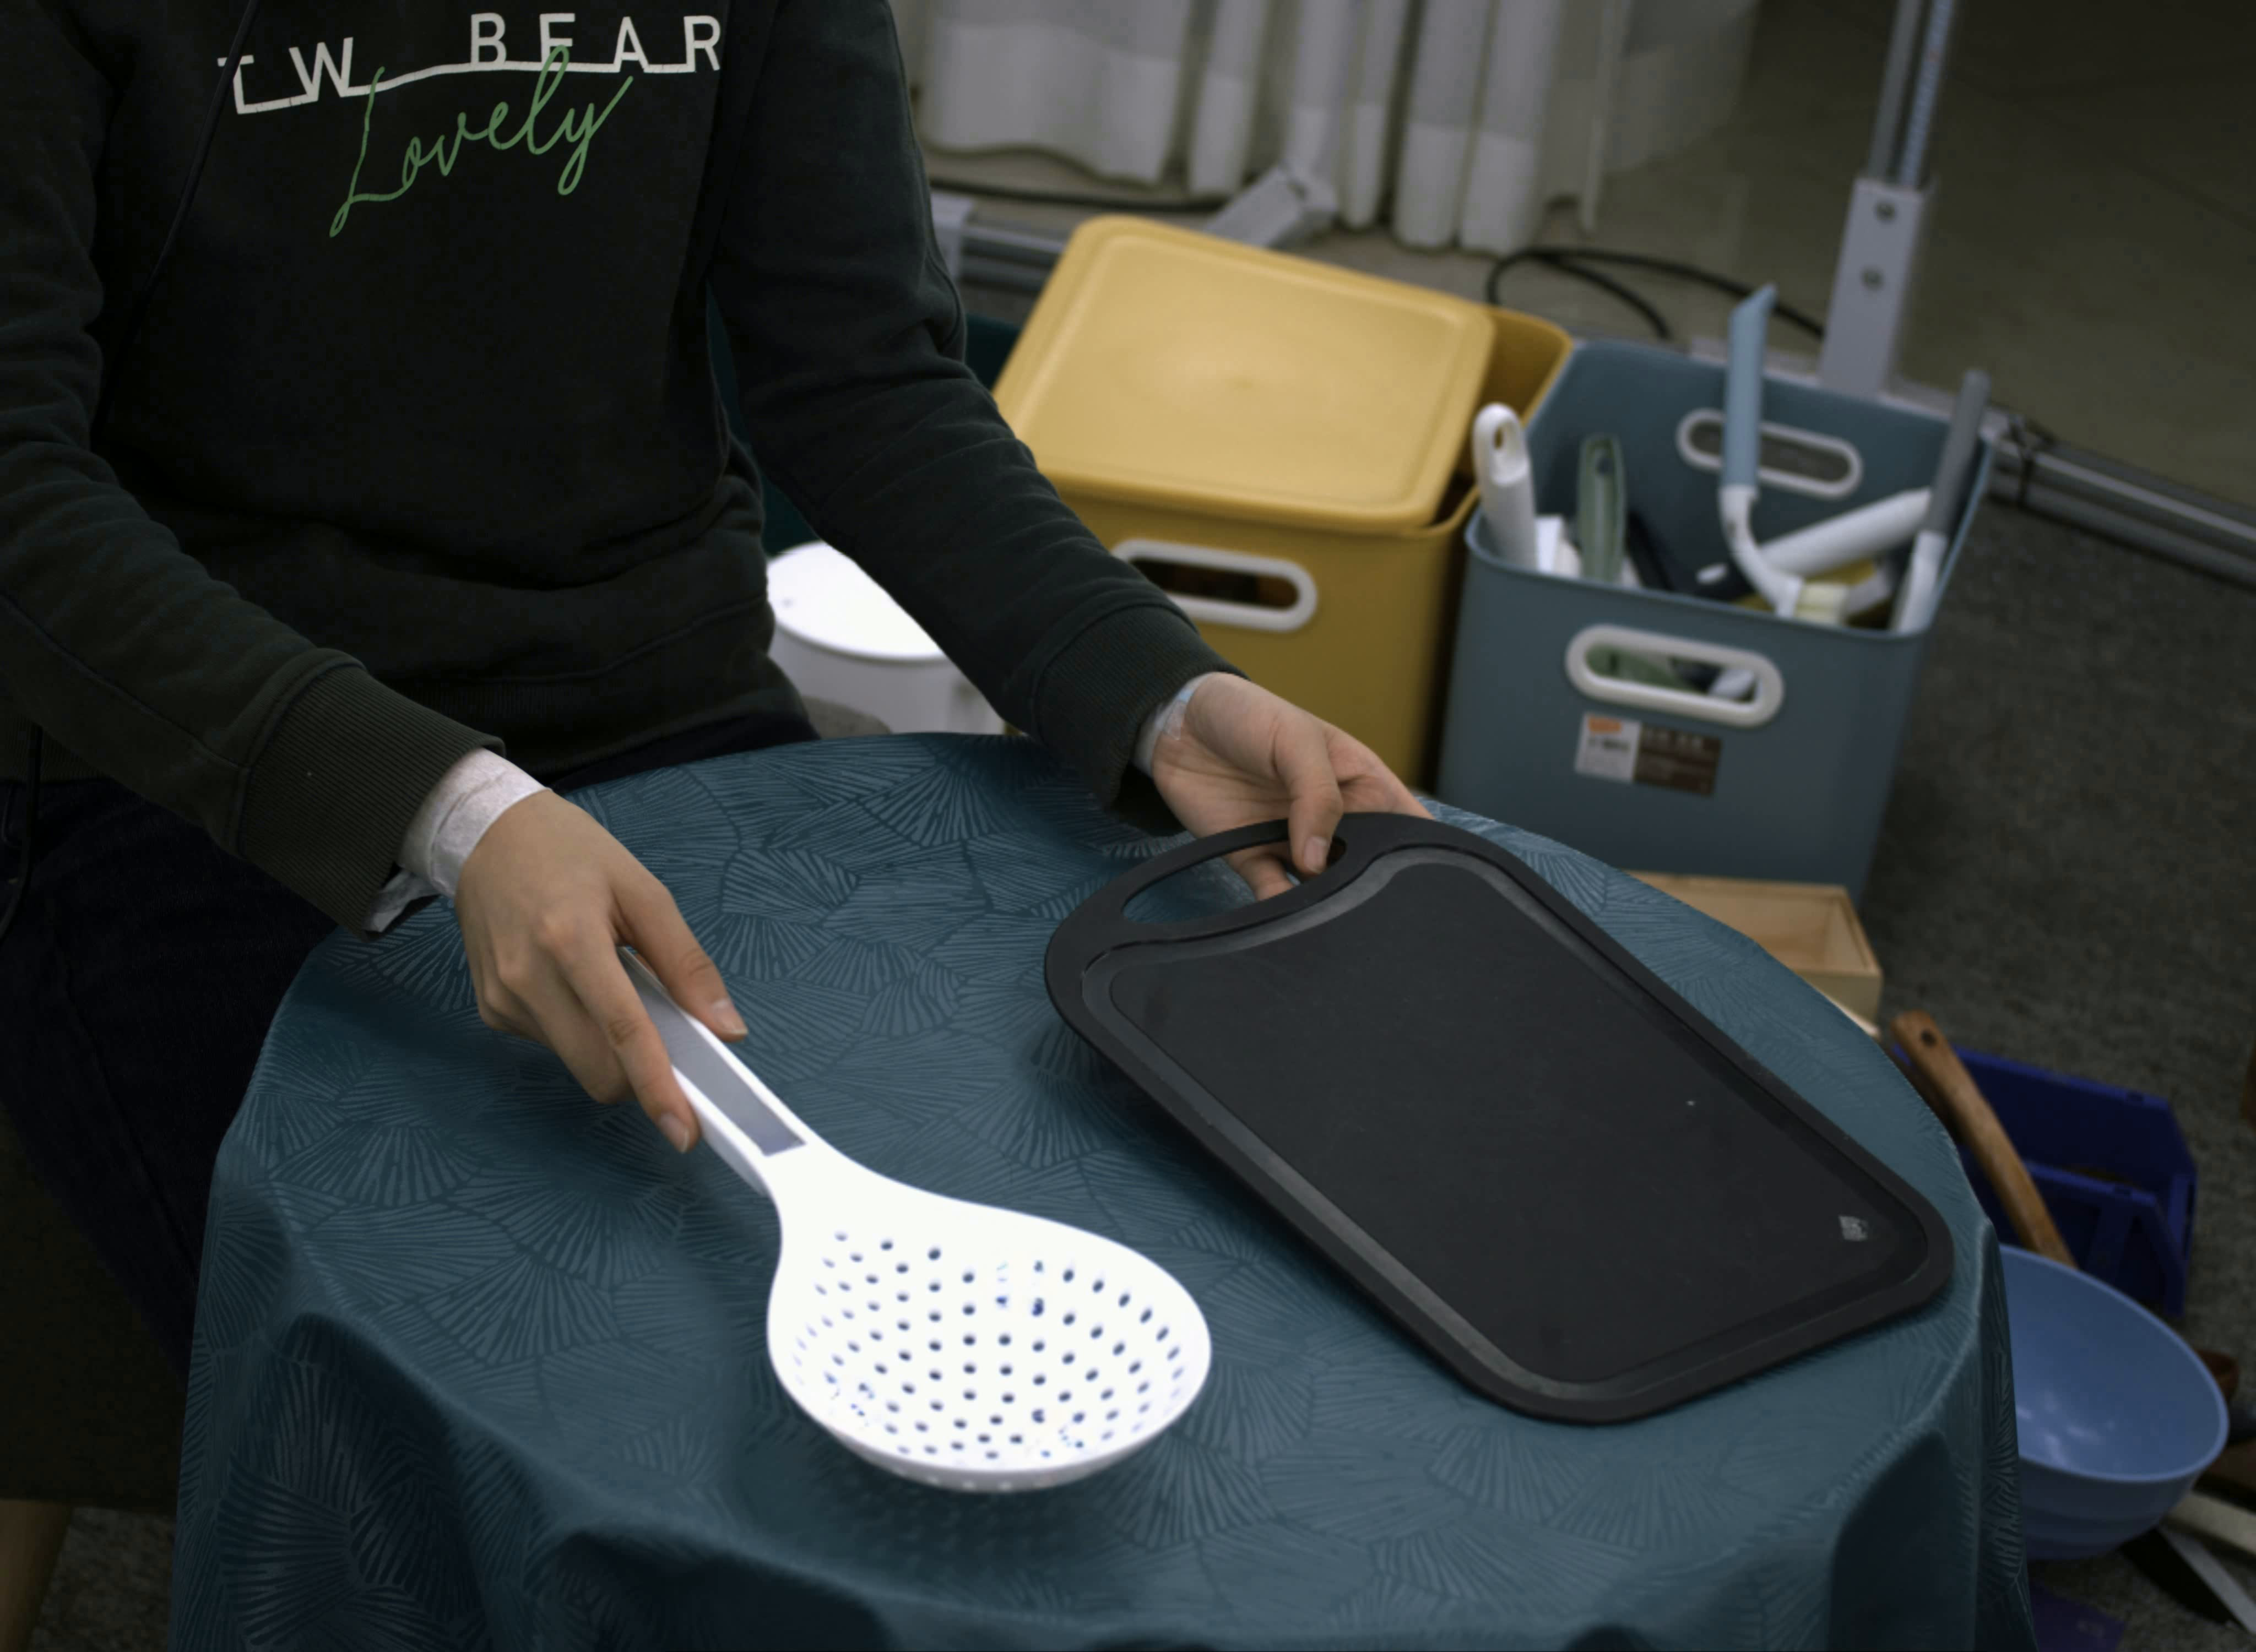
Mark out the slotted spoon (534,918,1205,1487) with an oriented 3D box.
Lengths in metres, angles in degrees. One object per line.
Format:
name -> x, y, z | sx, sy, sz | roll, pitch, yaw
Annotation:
slotted spoon -> -0.102, 0.115, 1.710 | 0.135, 0.045, 0.353 | -14, 38, -30

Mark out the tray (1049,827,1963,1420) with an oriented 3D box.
tray -> 0.122, 0.092, 1.841 | 0.210, 0.010, 0.328 | -17, 41, -34
